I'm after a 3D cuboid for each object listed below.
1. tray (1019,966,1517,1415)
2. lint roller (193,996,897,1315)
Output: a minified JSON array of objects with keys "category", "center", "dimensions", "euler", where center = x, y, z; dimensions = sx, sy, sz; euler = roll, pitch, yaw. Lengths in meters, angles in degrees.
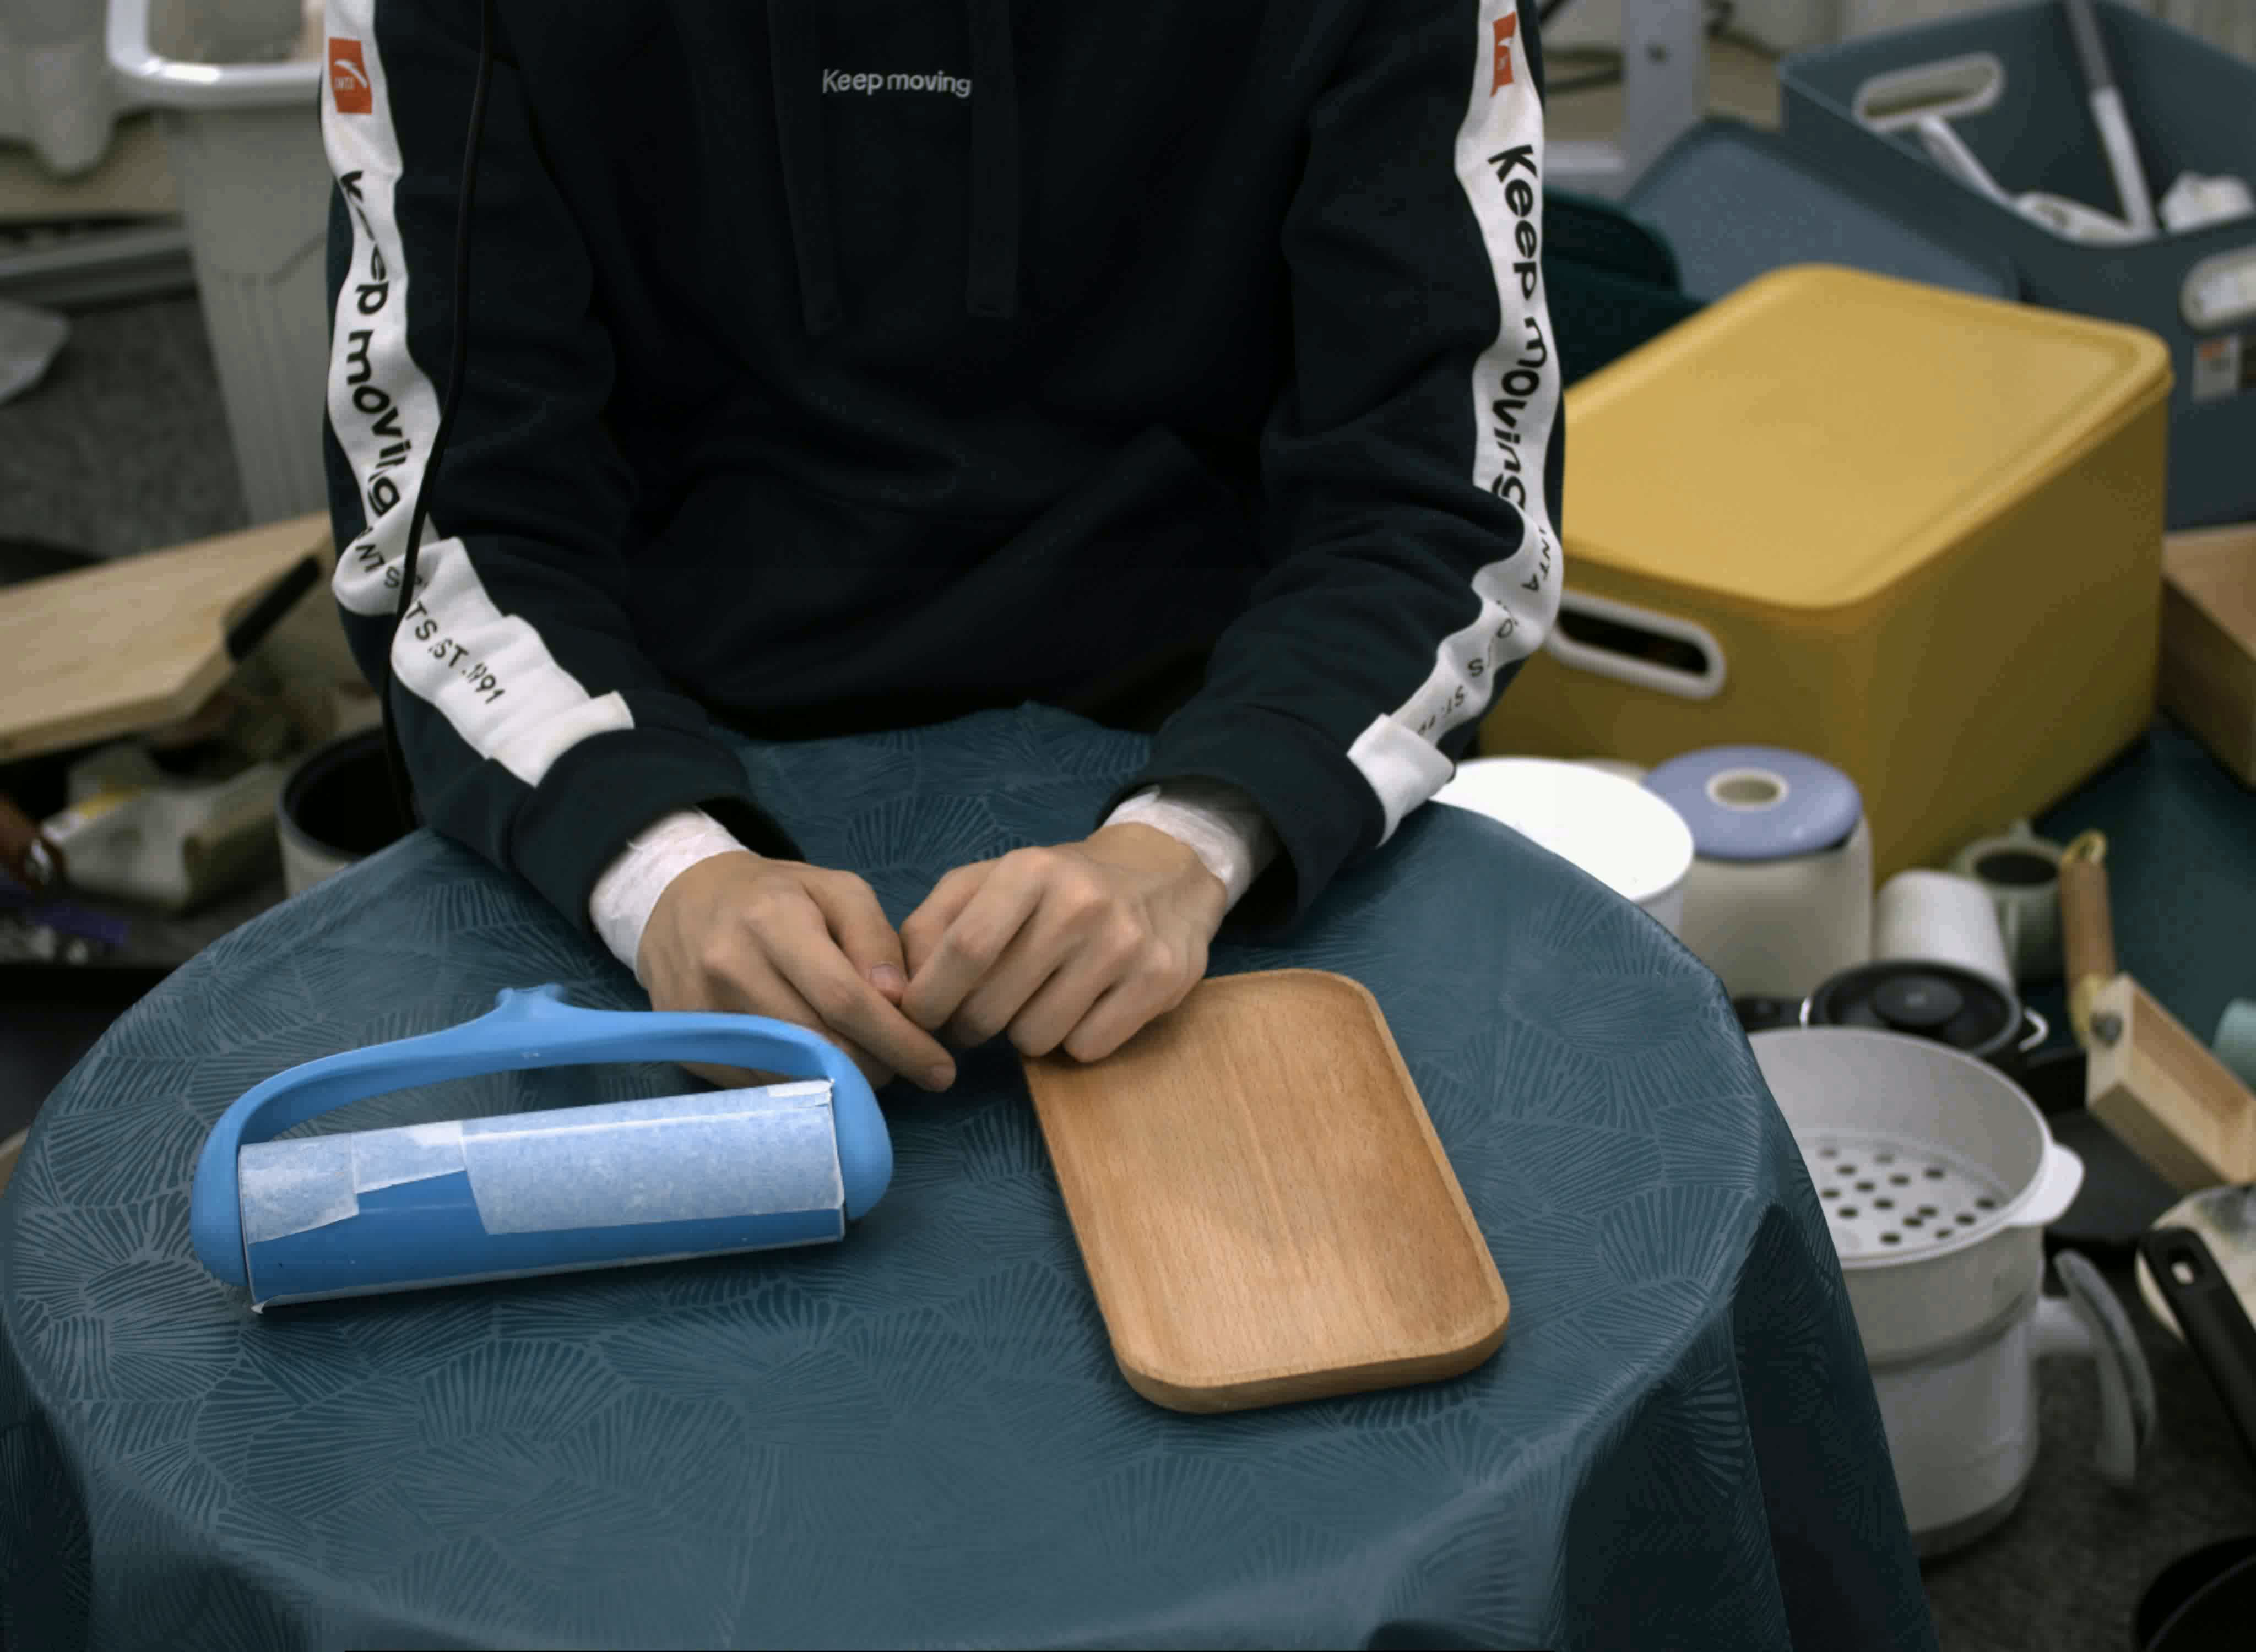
[{"category":"tray","center":[0.042,0.117,1.847],"dimensions":[0.130,0.022,0.254],"euler":[-5,27,-8]},{"category":"lint roller","center":[-0.199,0.092,1.875],"dimensions":[0.228,0.067,0.182],"euler":[-9,28,-8]}]
